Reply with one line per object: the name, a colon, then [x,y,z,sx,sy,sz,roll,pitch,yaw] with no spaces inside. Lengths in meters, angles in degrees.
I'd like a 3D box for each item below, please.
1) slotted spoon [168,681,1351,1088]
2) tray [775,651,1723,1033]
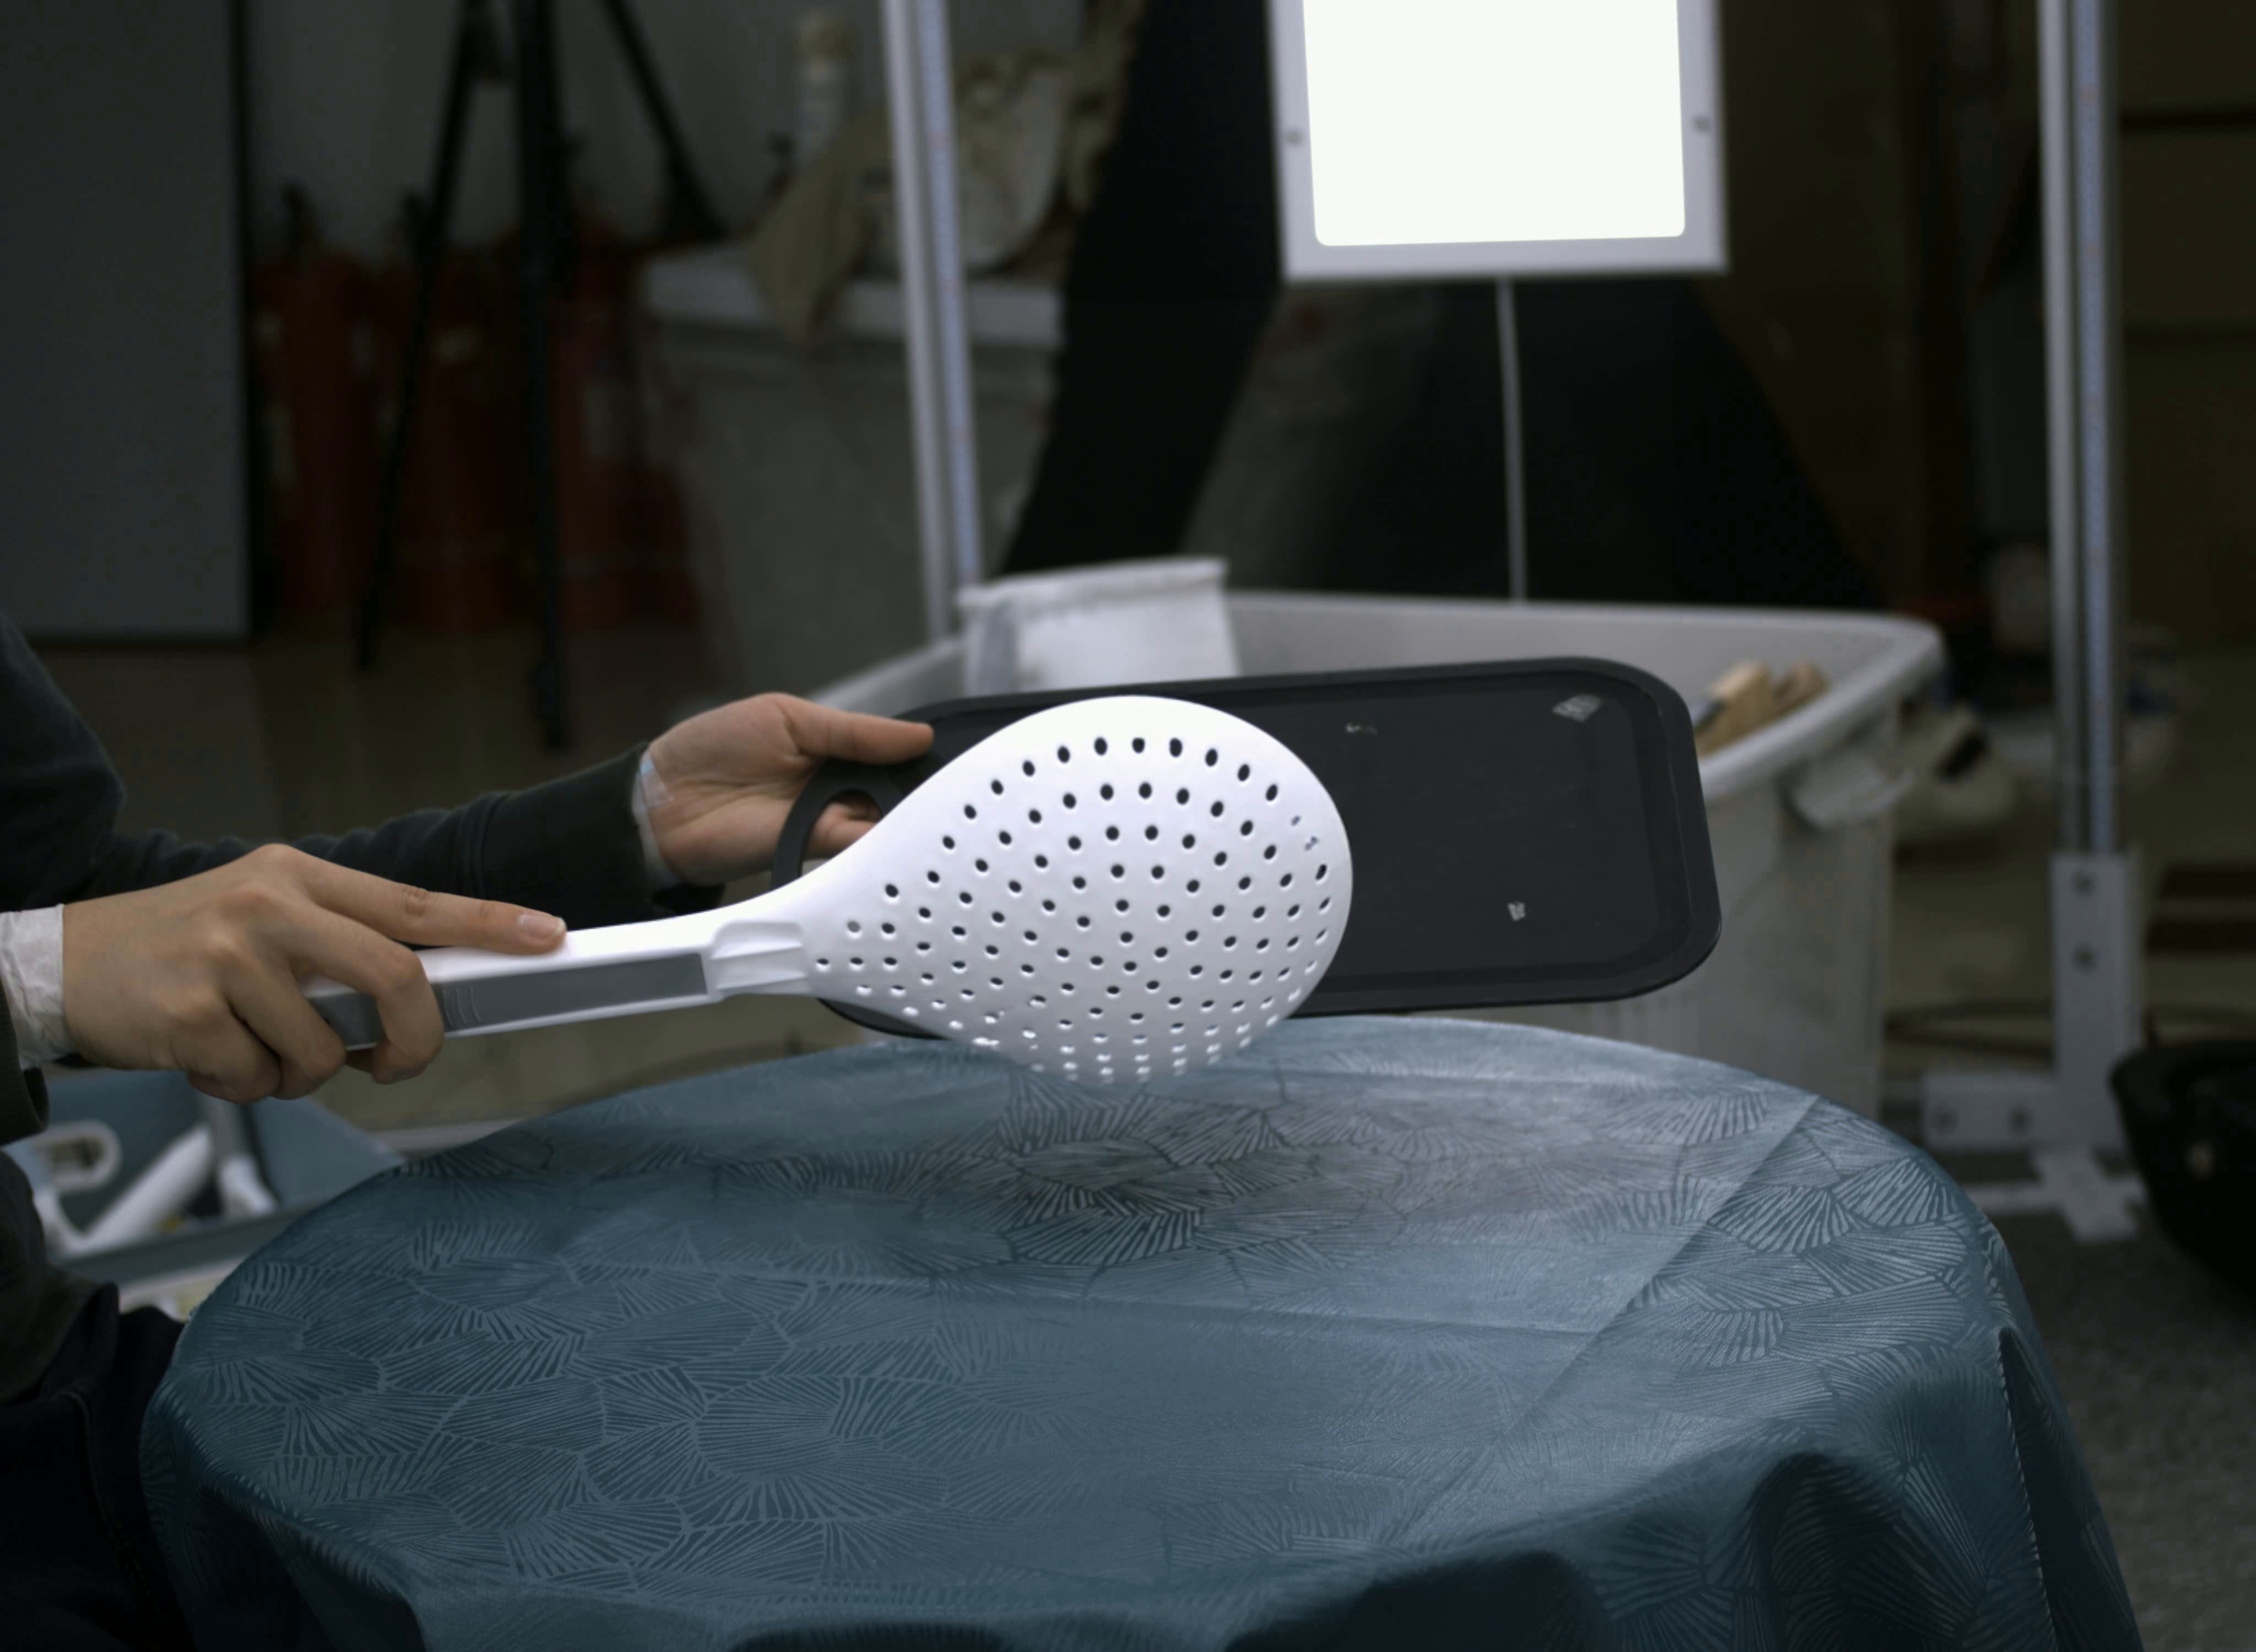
slotted spoon: [-0.108,0.035,1.618,0.350,0.136,0.045,-5,28,6]
tray: [0.039,0.003,1.900,0.326,0.010,0.210,-4,34,5]
